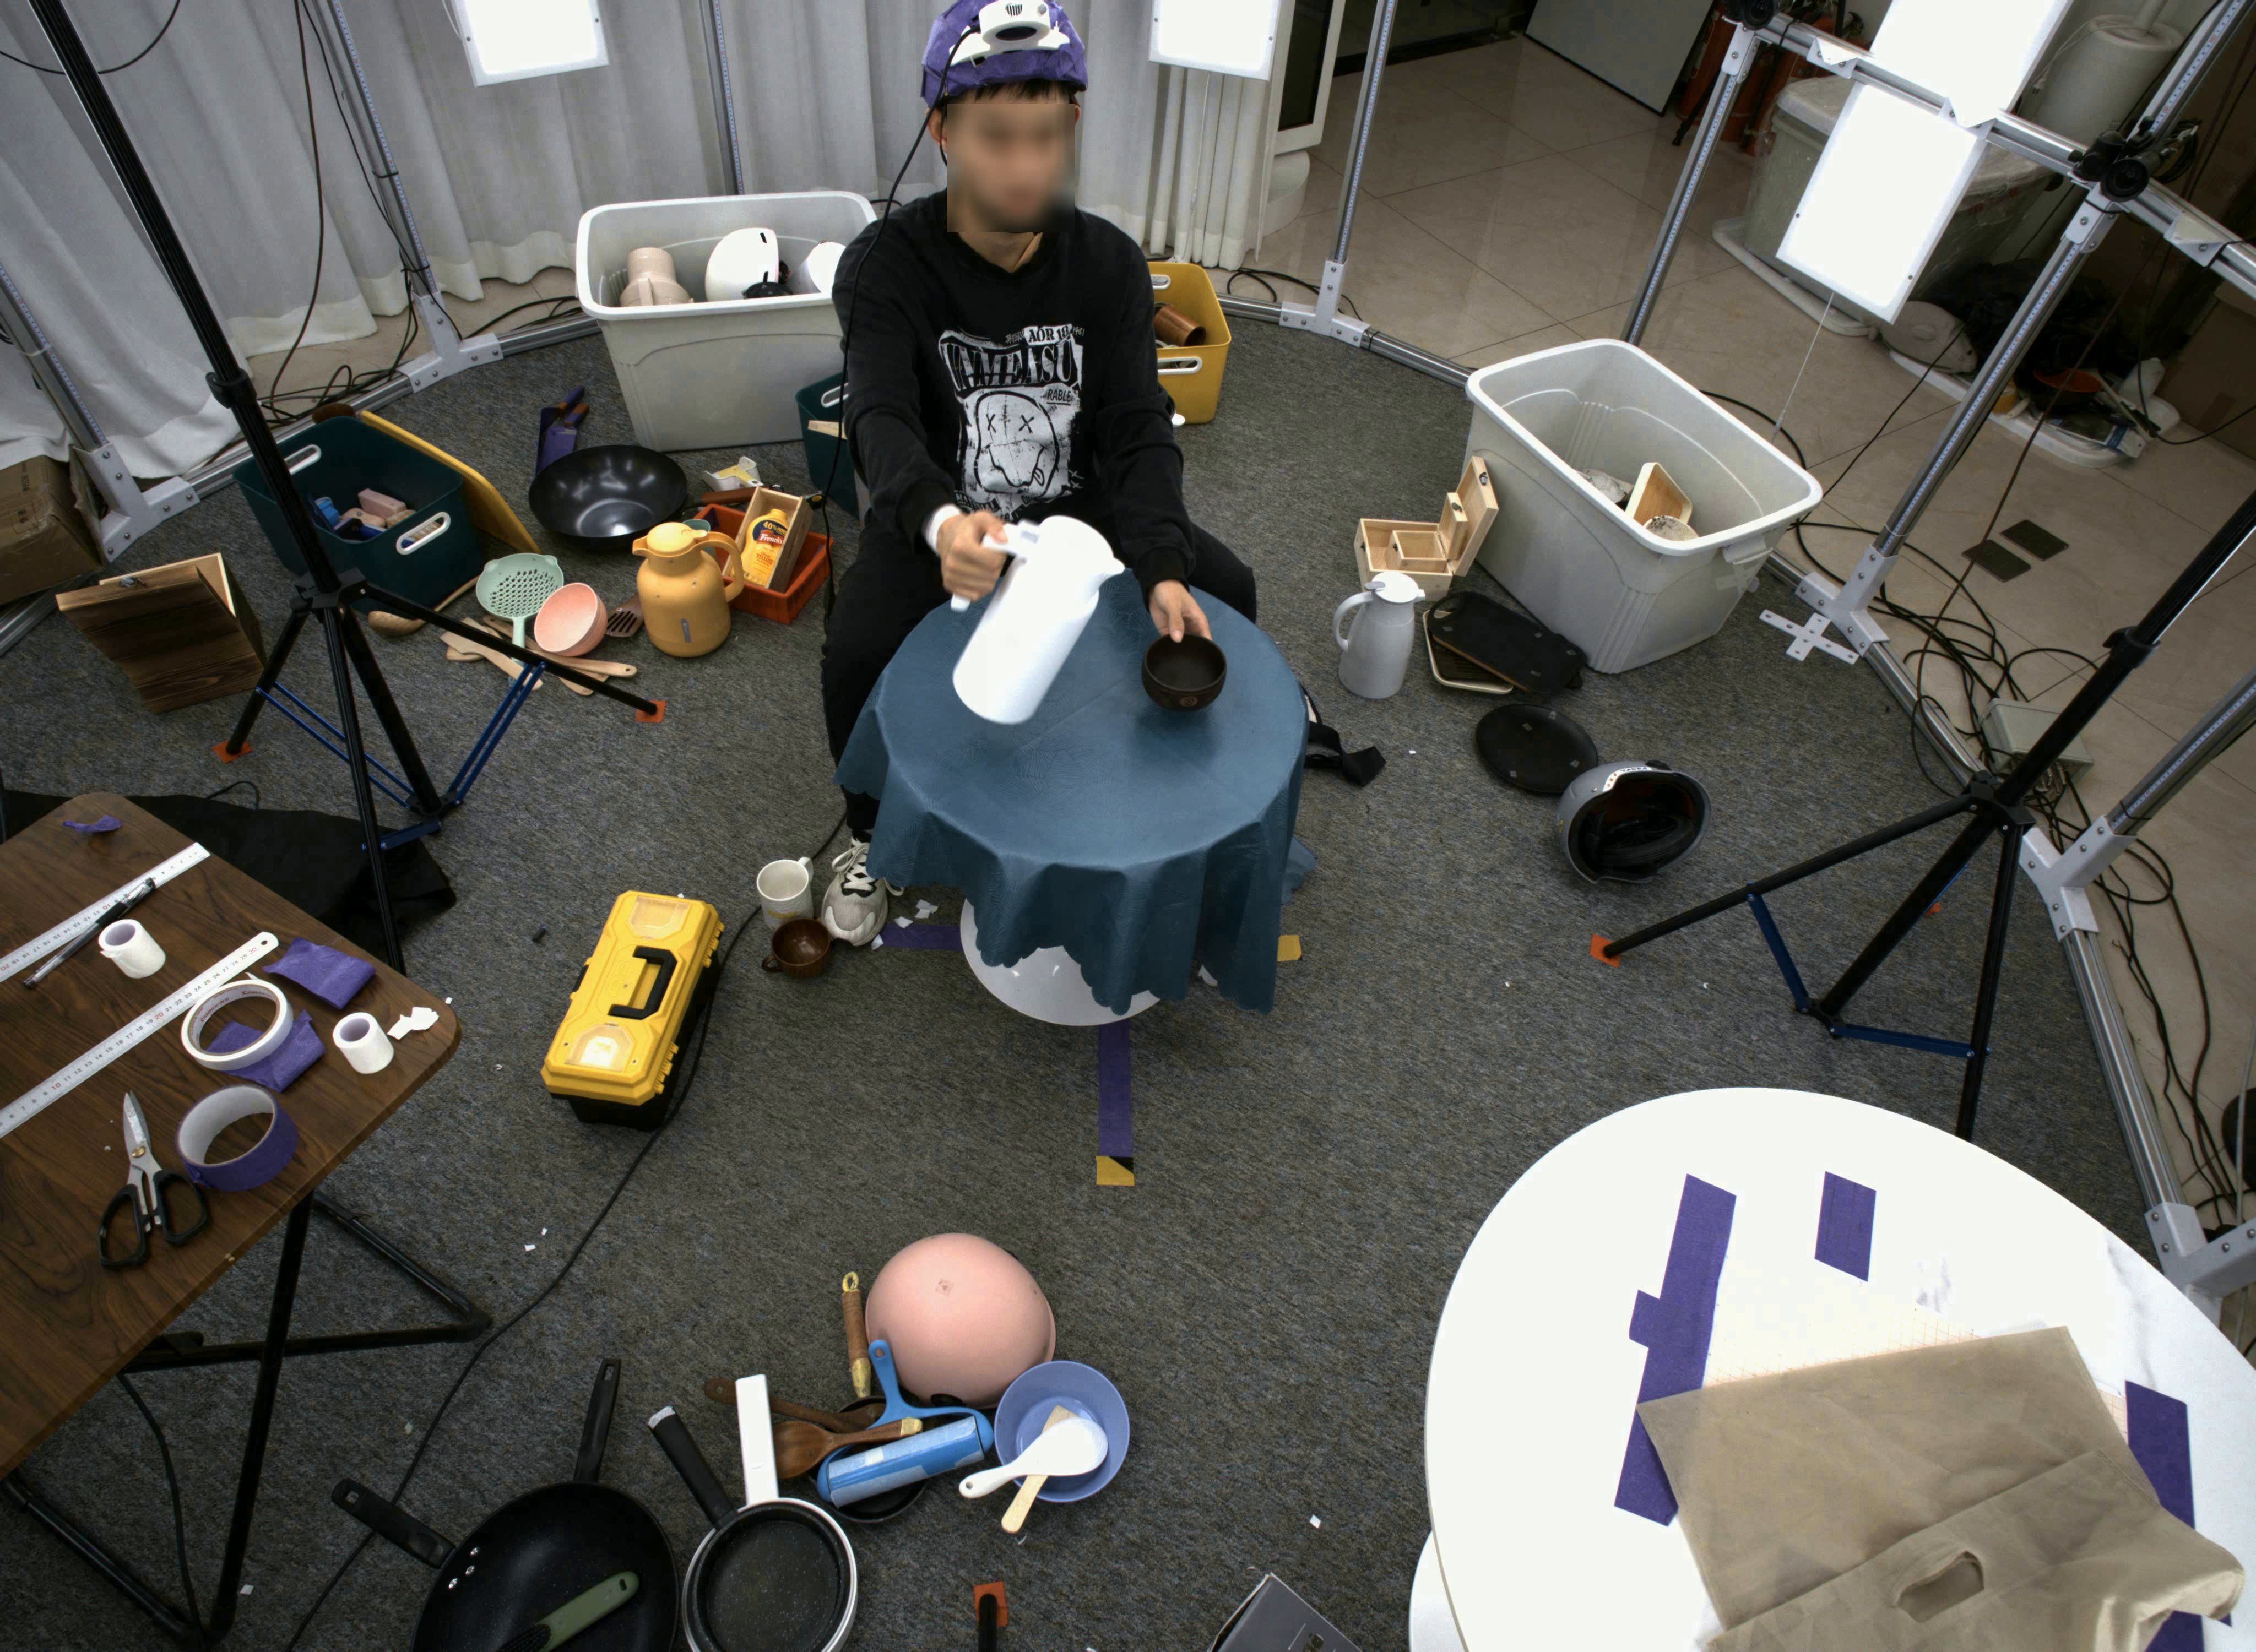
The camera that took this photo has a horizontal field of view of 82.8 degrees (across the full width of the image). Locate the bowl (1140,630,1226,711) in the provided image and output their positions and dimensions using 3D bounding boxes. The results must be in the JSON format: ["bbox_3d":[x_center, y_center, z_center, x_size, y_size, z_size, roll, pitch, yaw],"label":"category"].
[{"bbox_3d":[0.075,-0.207,1.772,0.118,0.068,0.121,2,51,-2],"label":"bowl"}]

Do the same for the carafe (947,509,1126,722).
[{"bbox_3d":[-0.137,-0.260,1.592,0.171,0.264,0.127,17,45,-23],"label":"carafe"}]
